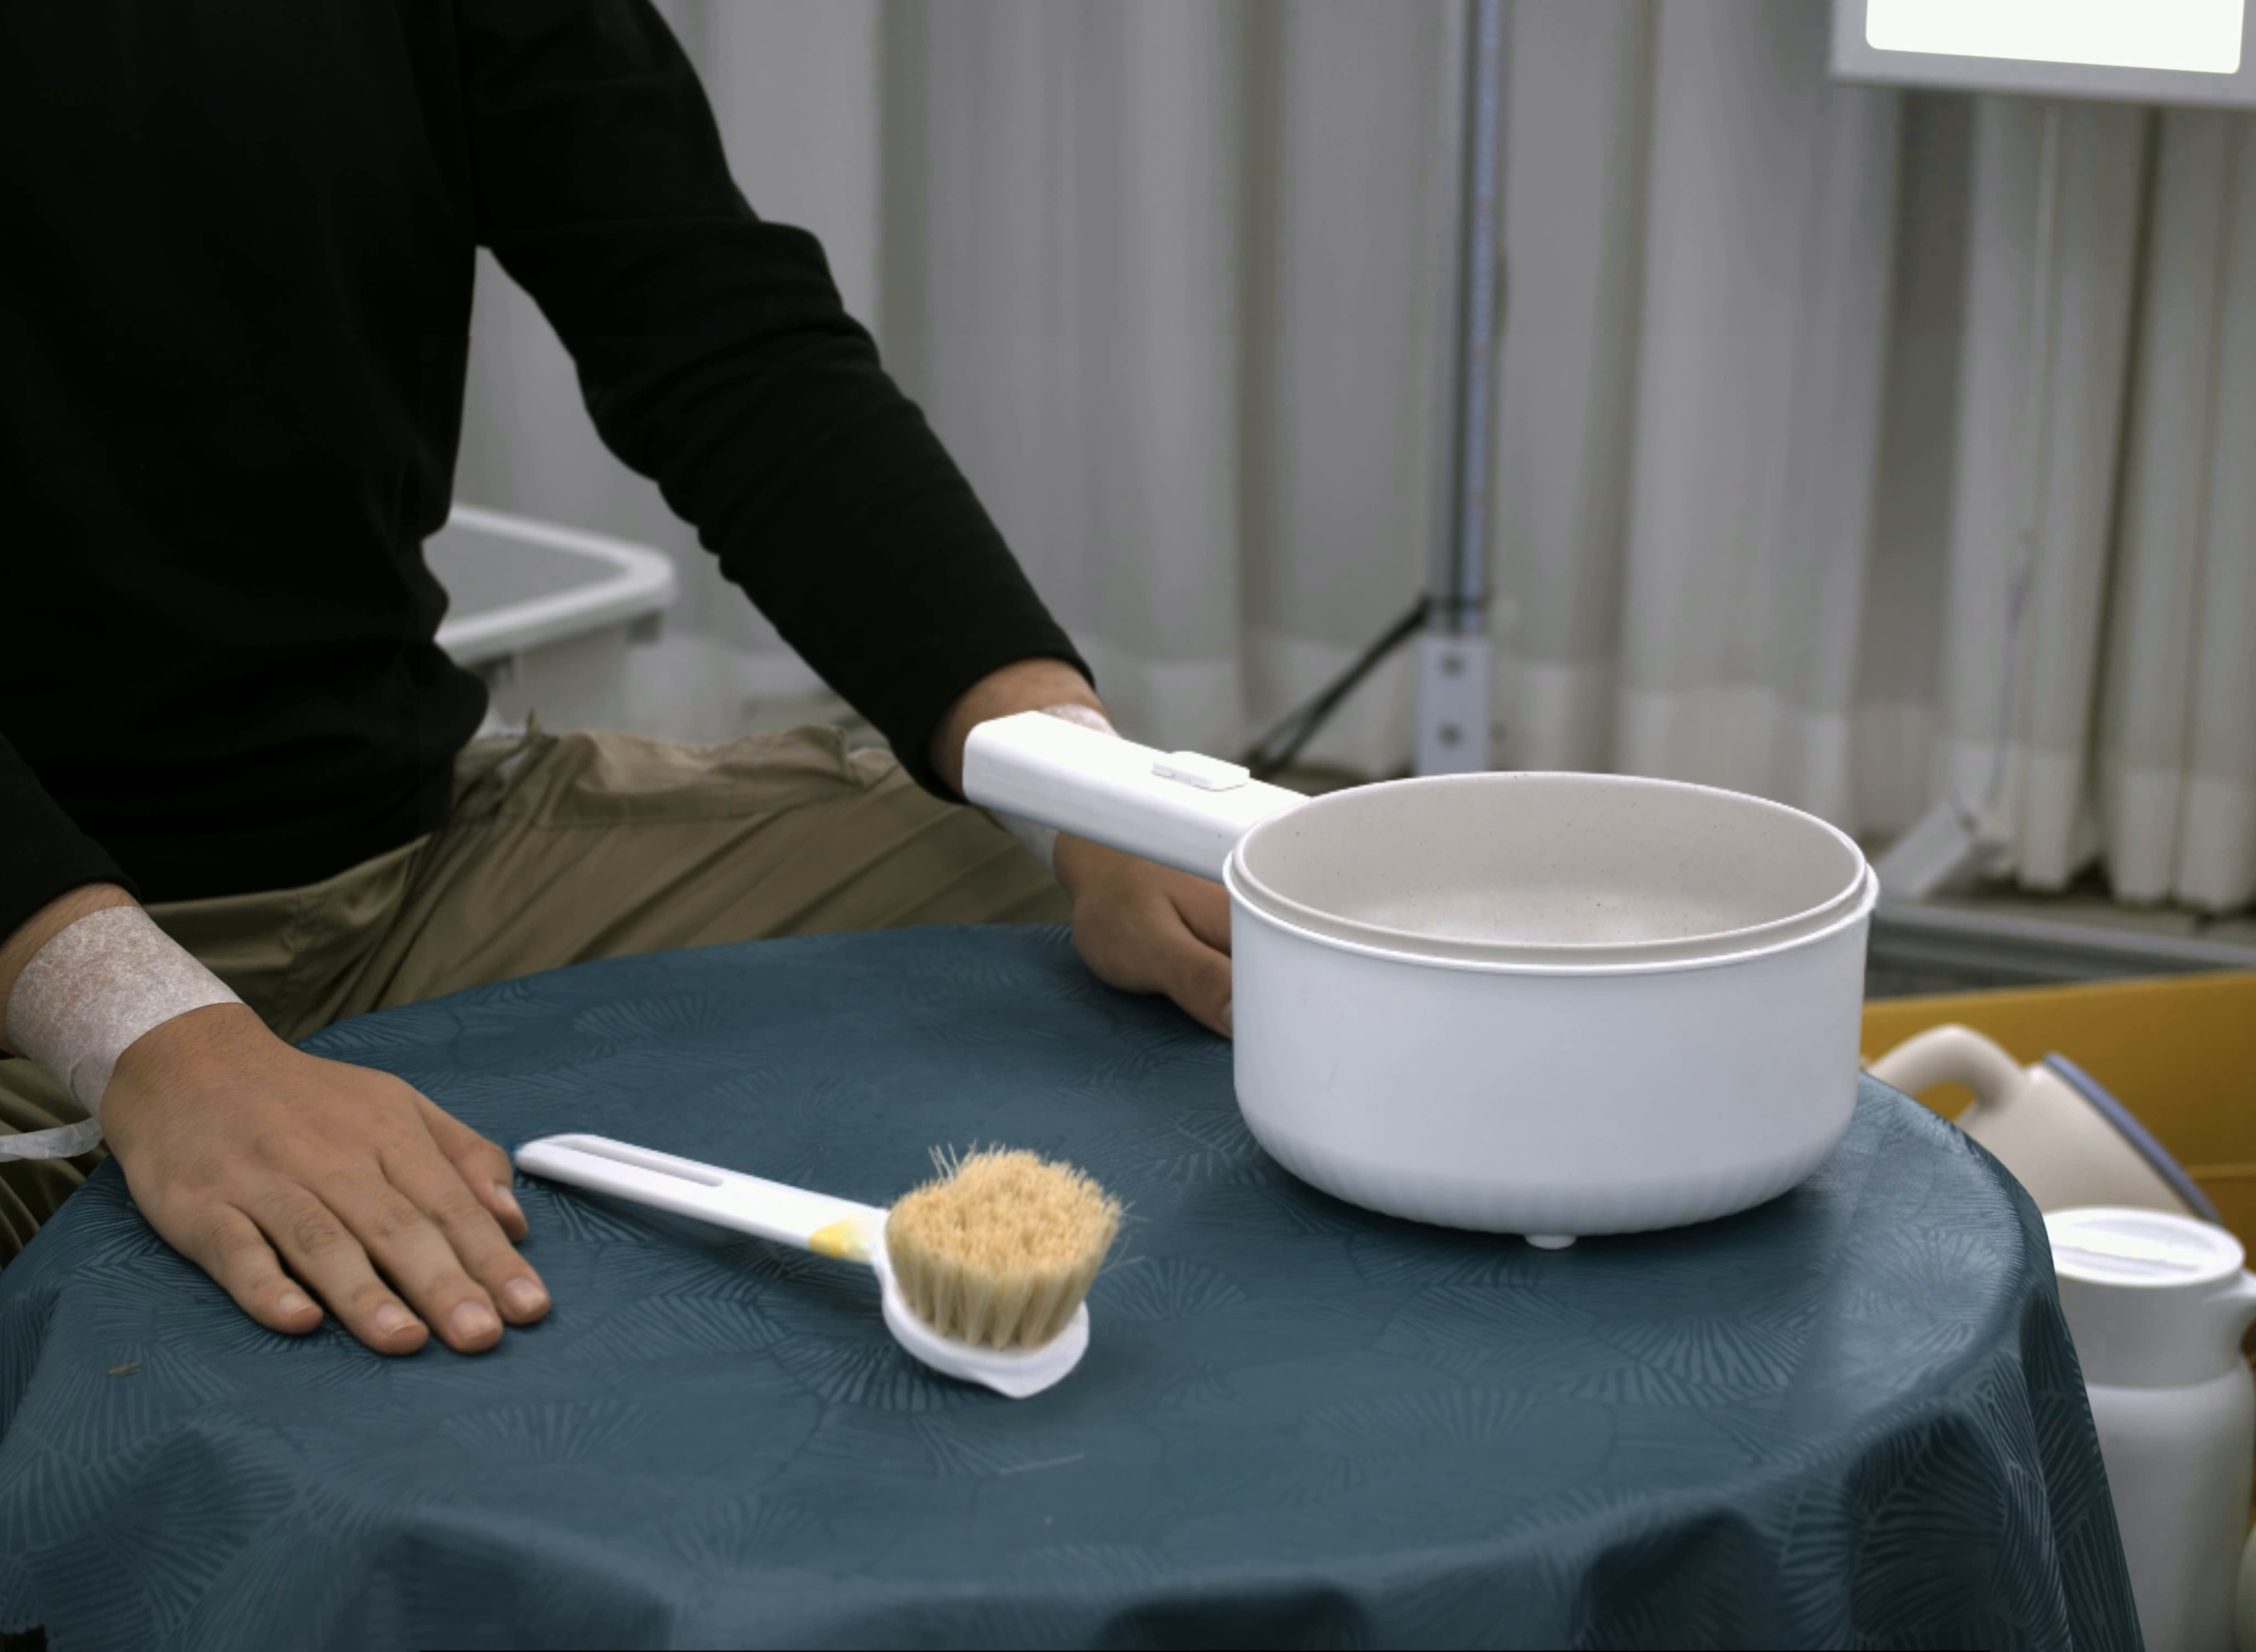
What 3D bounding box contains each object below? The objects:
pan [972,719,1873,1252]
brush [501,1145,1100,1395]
[{"bbox_3d":[0.077,0.044,1.689,0.202,0.103,0.350,-15,21,-41],"label":"pan"},{"bbox_3d":[-0.106,0.106,1.541,0.069,0.056,0.263,-8,16,-39],"label":"brush"}]
